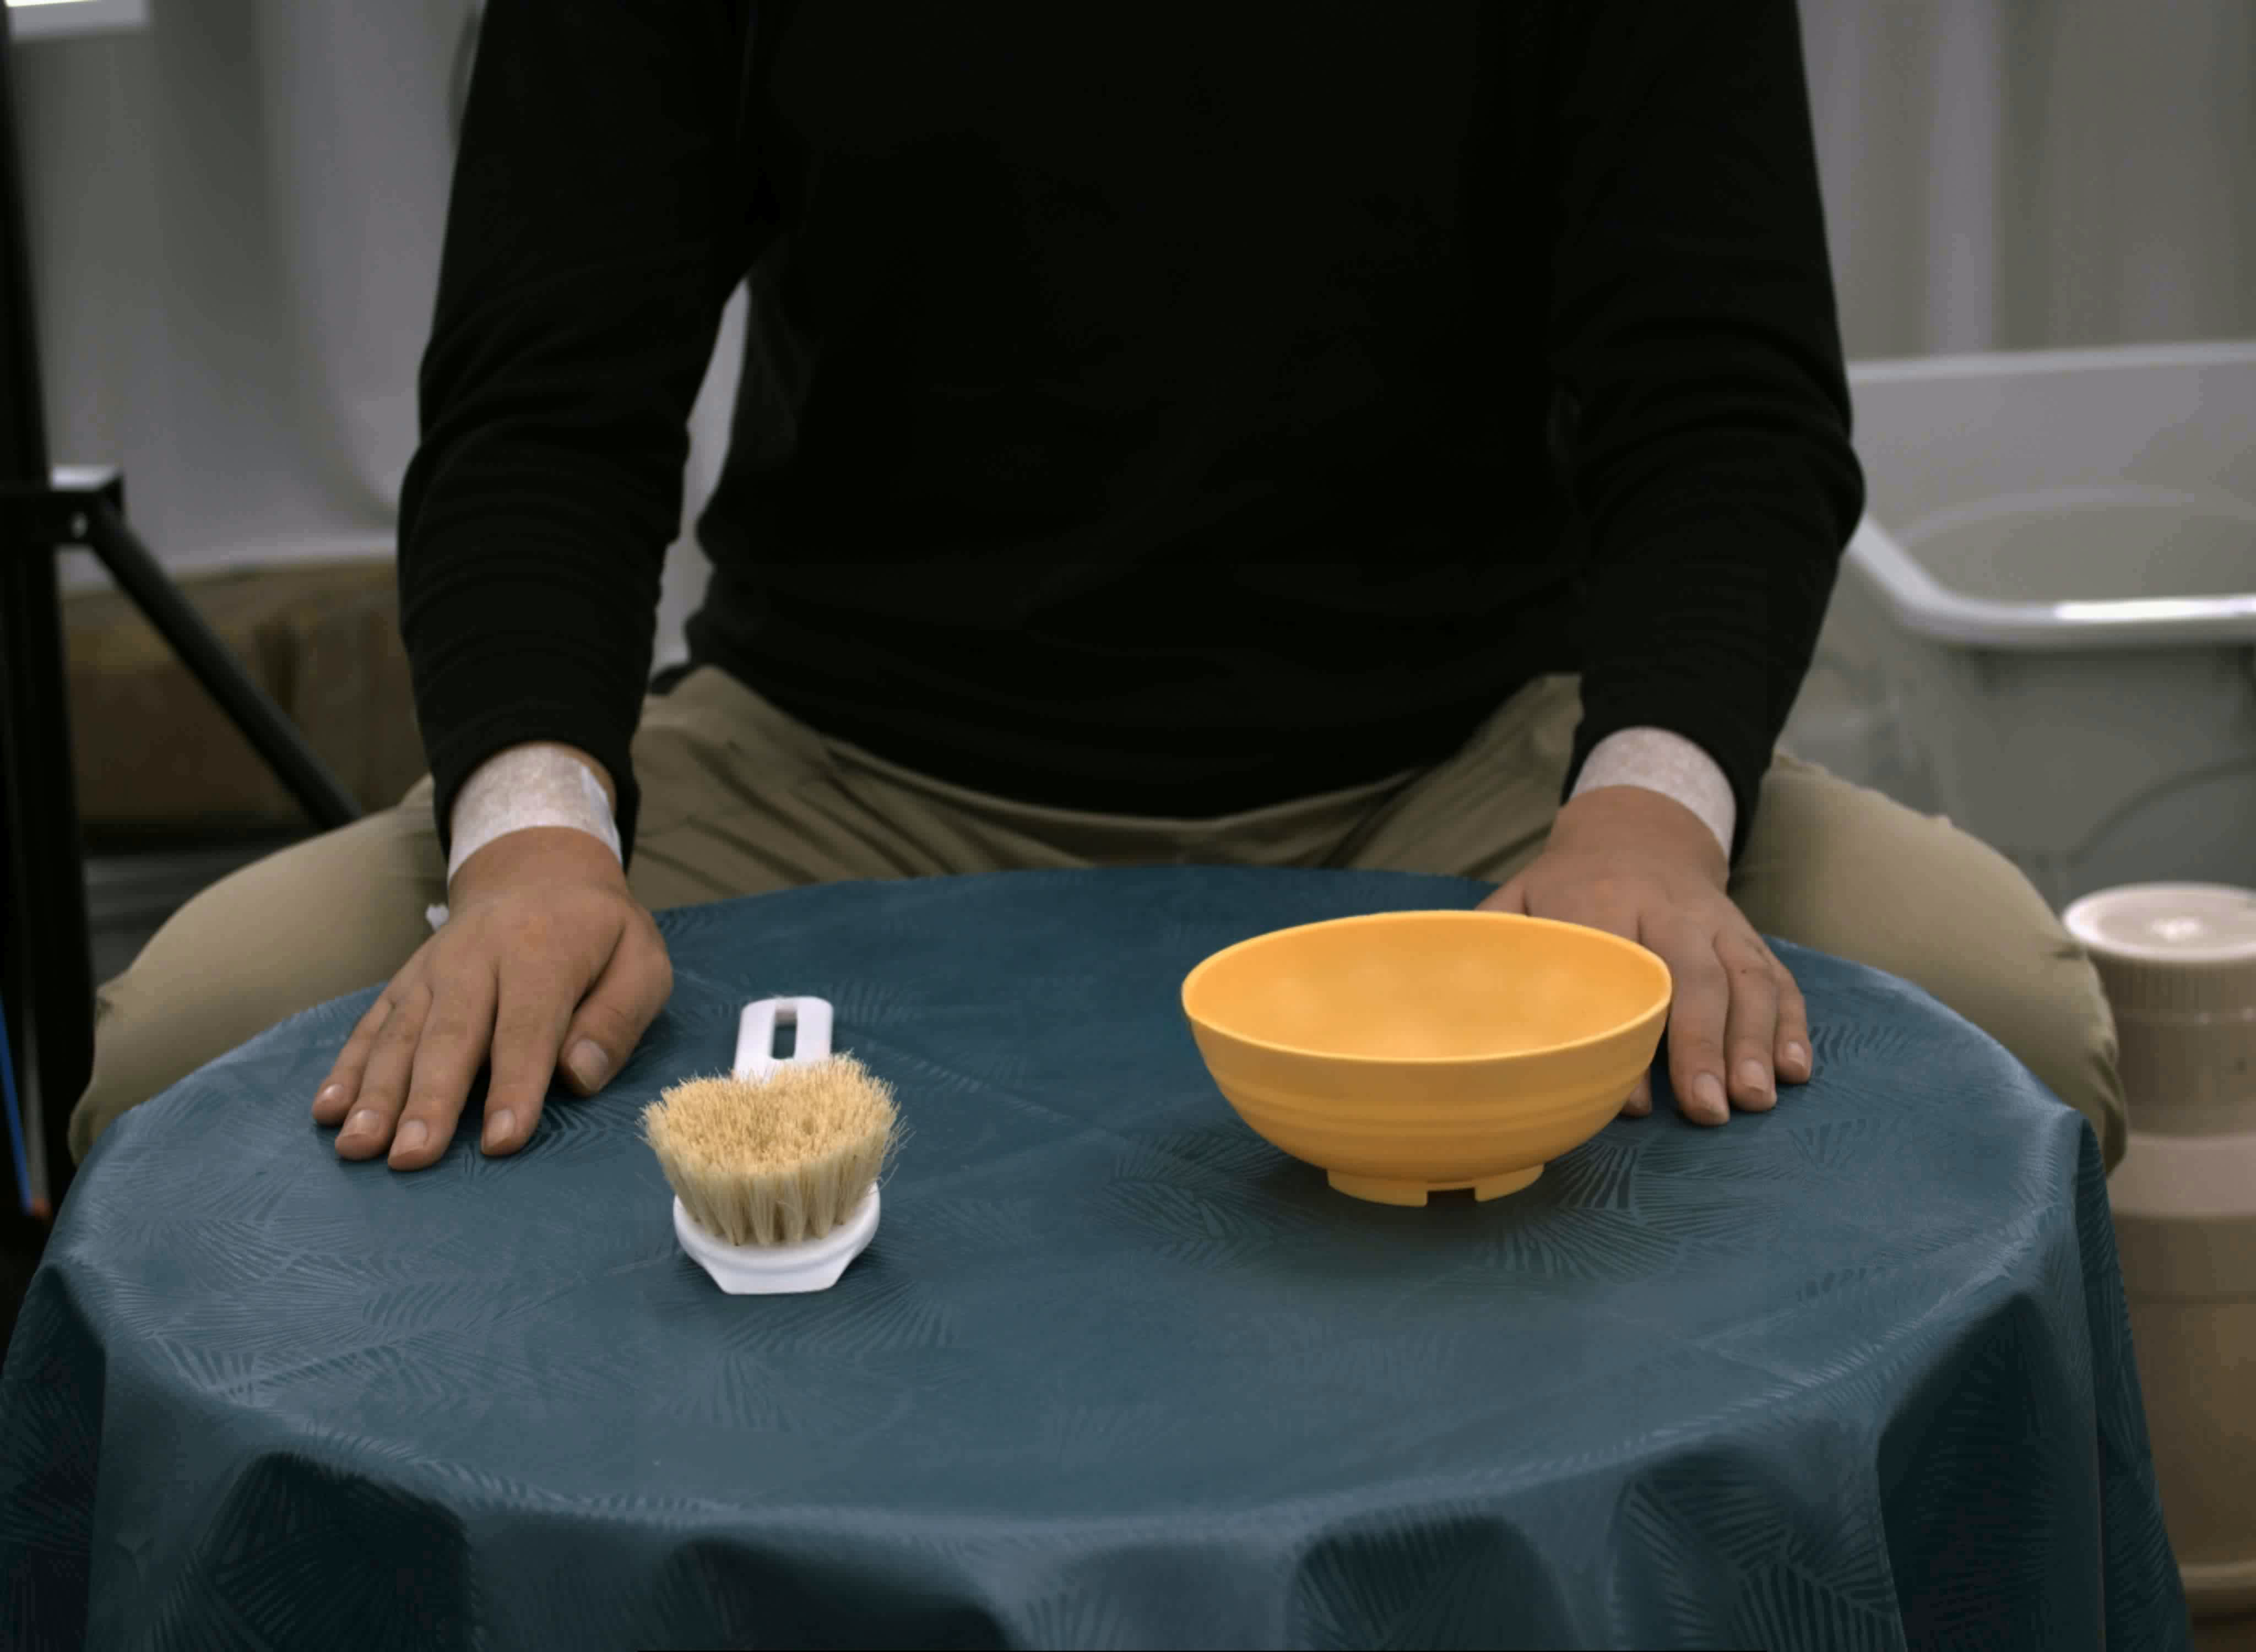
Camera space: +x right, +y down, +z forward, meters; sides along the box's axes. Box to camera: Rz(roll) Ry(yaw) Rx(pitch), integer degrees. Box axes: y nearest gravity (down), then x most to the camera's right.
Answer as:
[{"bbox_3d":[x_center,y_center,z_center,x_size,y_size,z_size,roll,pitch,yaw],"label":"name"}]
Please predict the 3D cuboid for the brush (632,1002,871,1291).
[{"bbox_3d":[-0.110,0.072,1.606,0.068,0.056,0.268,2,15,-2],"label":"brush"}]

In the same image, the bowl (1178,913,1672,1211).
[{"bbox_3d":[0.087,0.074,1.556,0.144,0.060,0.146,-1,15,-1],"label":"bowl"}]
